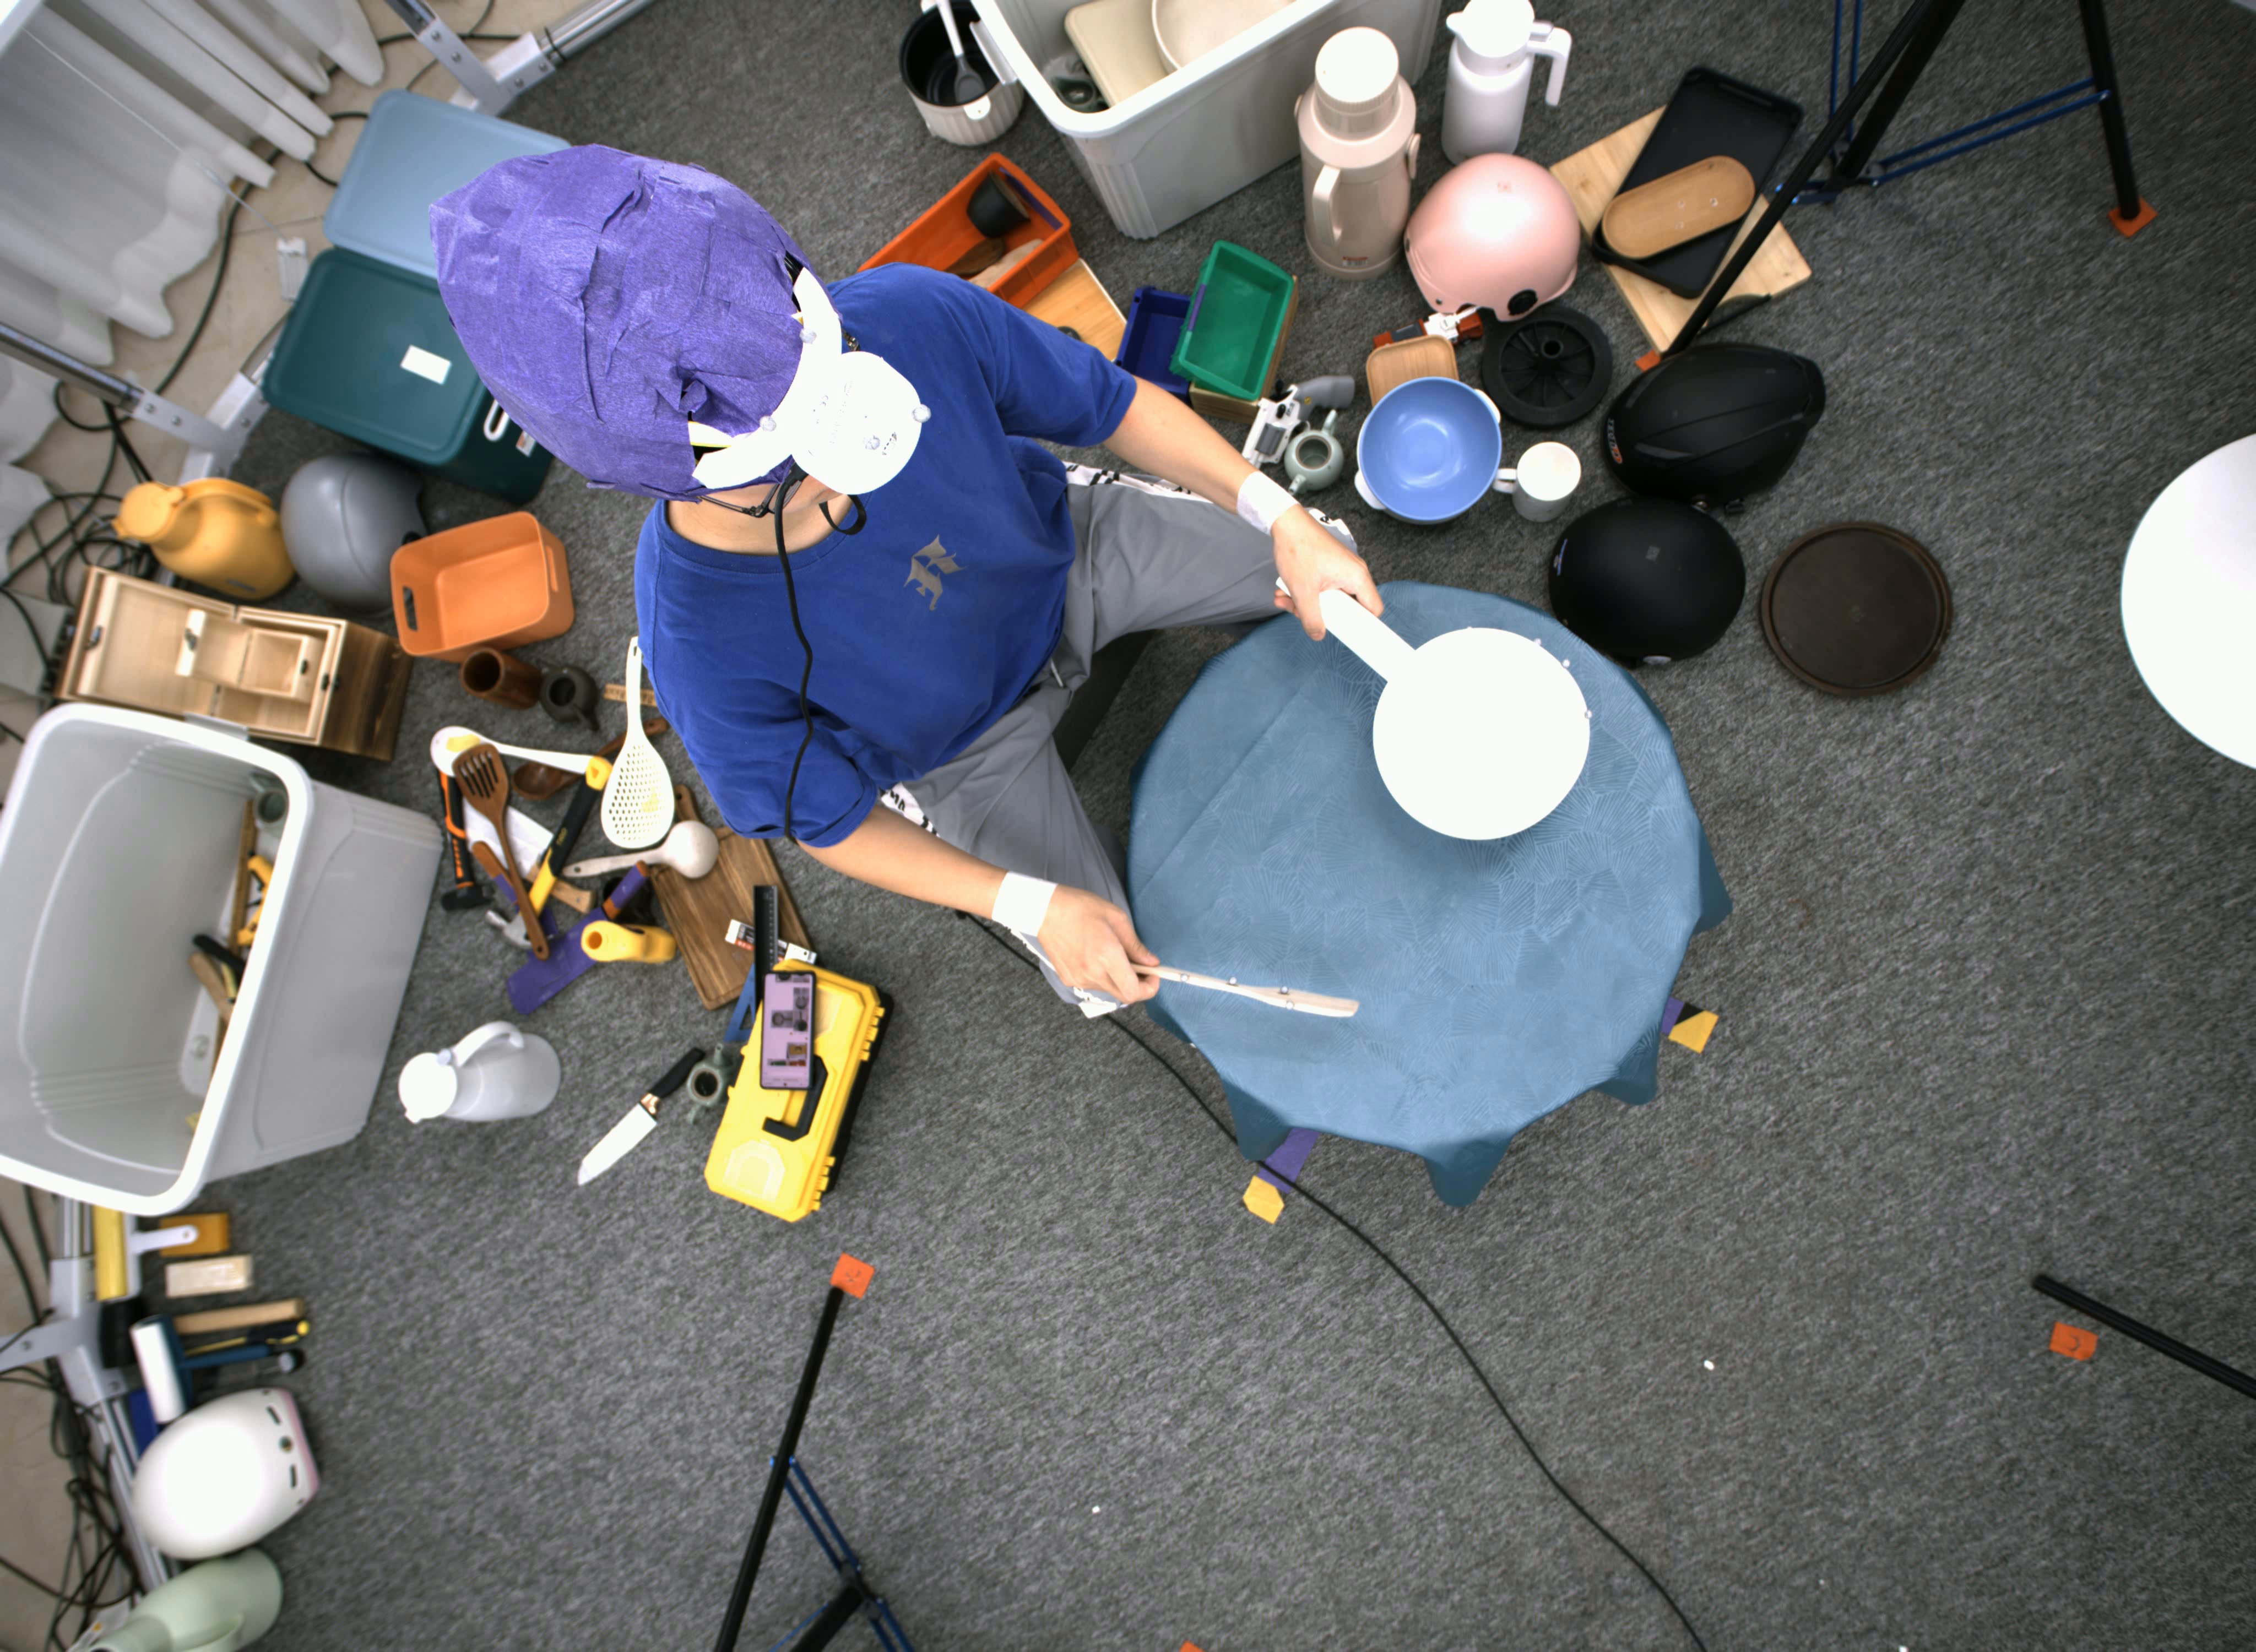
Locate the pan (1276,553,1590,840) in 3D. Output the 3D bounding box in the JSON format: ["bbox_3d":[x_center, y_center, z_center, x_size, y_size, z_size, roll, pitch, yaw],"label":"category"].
[{"bbox_3d":[0.298,-0.144,1.367,0.353,0.101,0.205,44,115,13],"label":"pan"}]

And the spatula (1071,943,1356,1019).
[{"bbox_3d":[0.082,0.153,1.390,0.293,0.071,0.011,11,100,13],"label":"spatula"}]
